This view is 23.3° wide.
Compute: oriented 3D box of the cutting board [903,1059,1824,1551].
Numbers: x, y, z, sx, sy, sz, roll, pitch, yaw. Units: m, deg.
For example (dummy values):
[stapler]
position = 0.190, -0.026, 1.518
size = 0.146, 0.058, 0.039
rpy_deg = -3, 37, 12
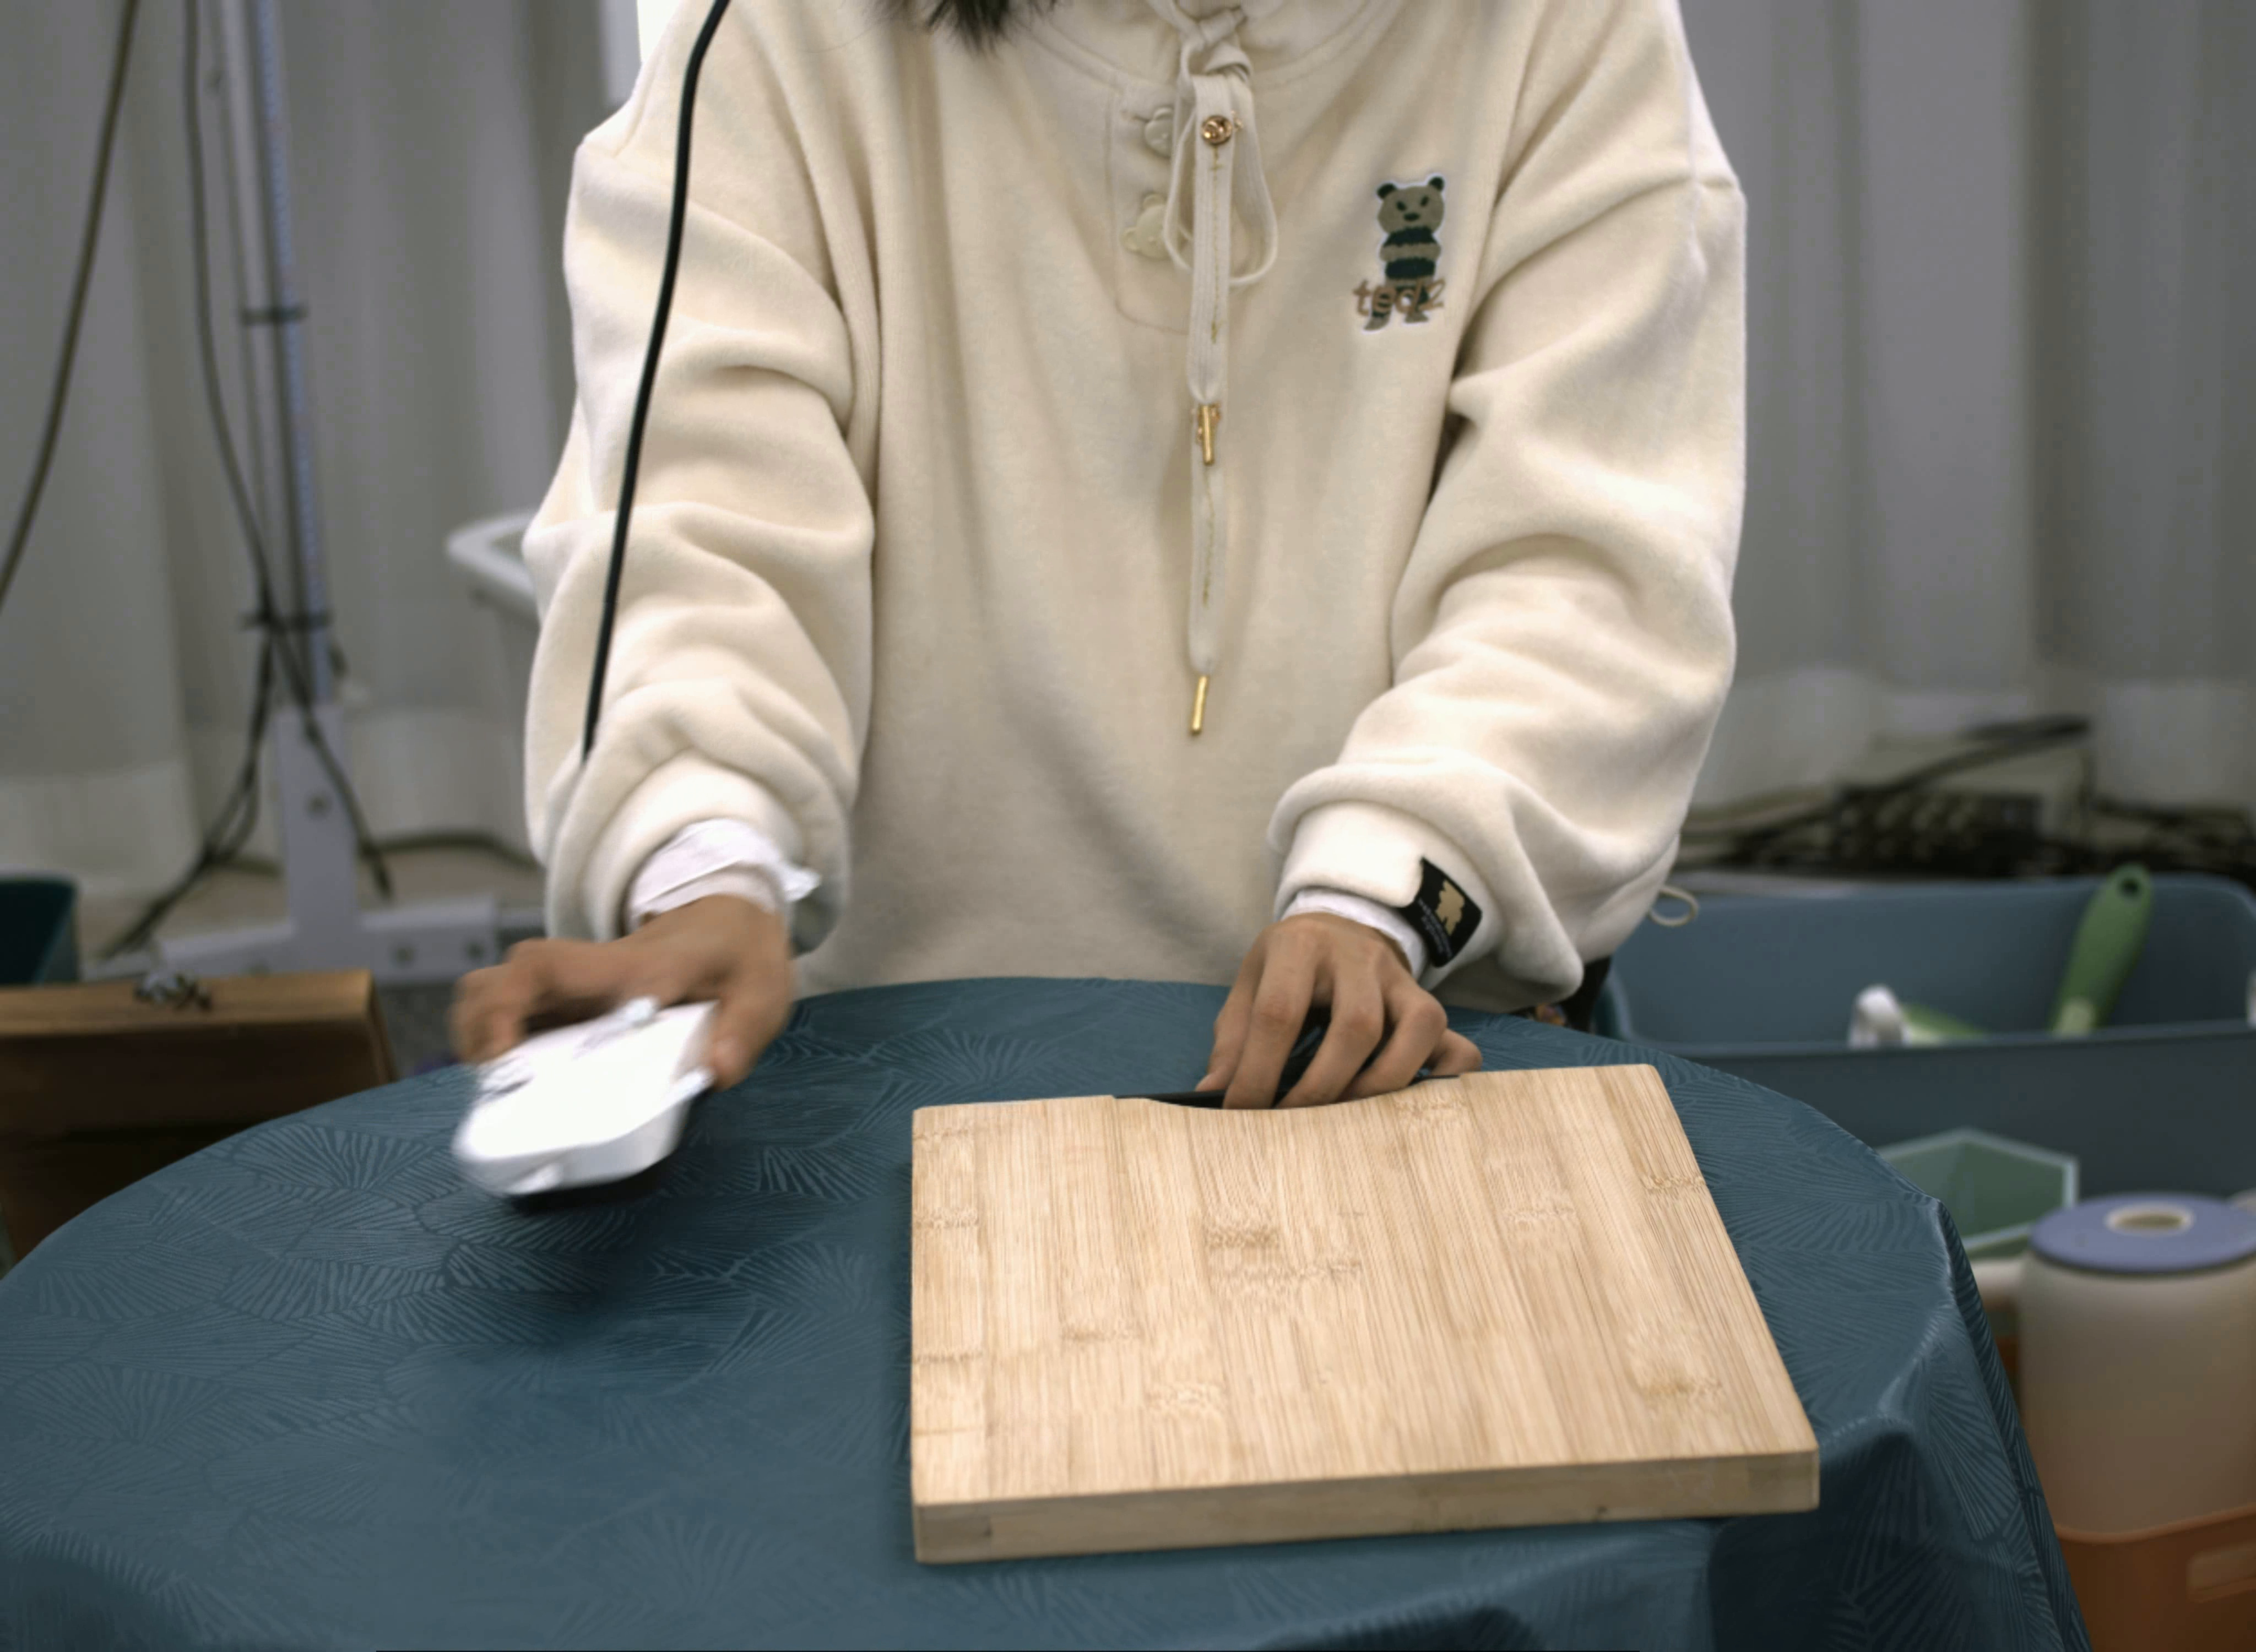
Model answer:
[cutting board]
position = 0.058, 0.135, 1.597
size = 0.250, 0.023, 0.351
rpy_deg = -3, 15, -2

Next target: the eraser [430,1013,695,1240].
[eraser]
position = -0.170, 0.088, 1.675
size = 0.063, 0.034, 0.132
rpy_deg = -8, 17, 10
